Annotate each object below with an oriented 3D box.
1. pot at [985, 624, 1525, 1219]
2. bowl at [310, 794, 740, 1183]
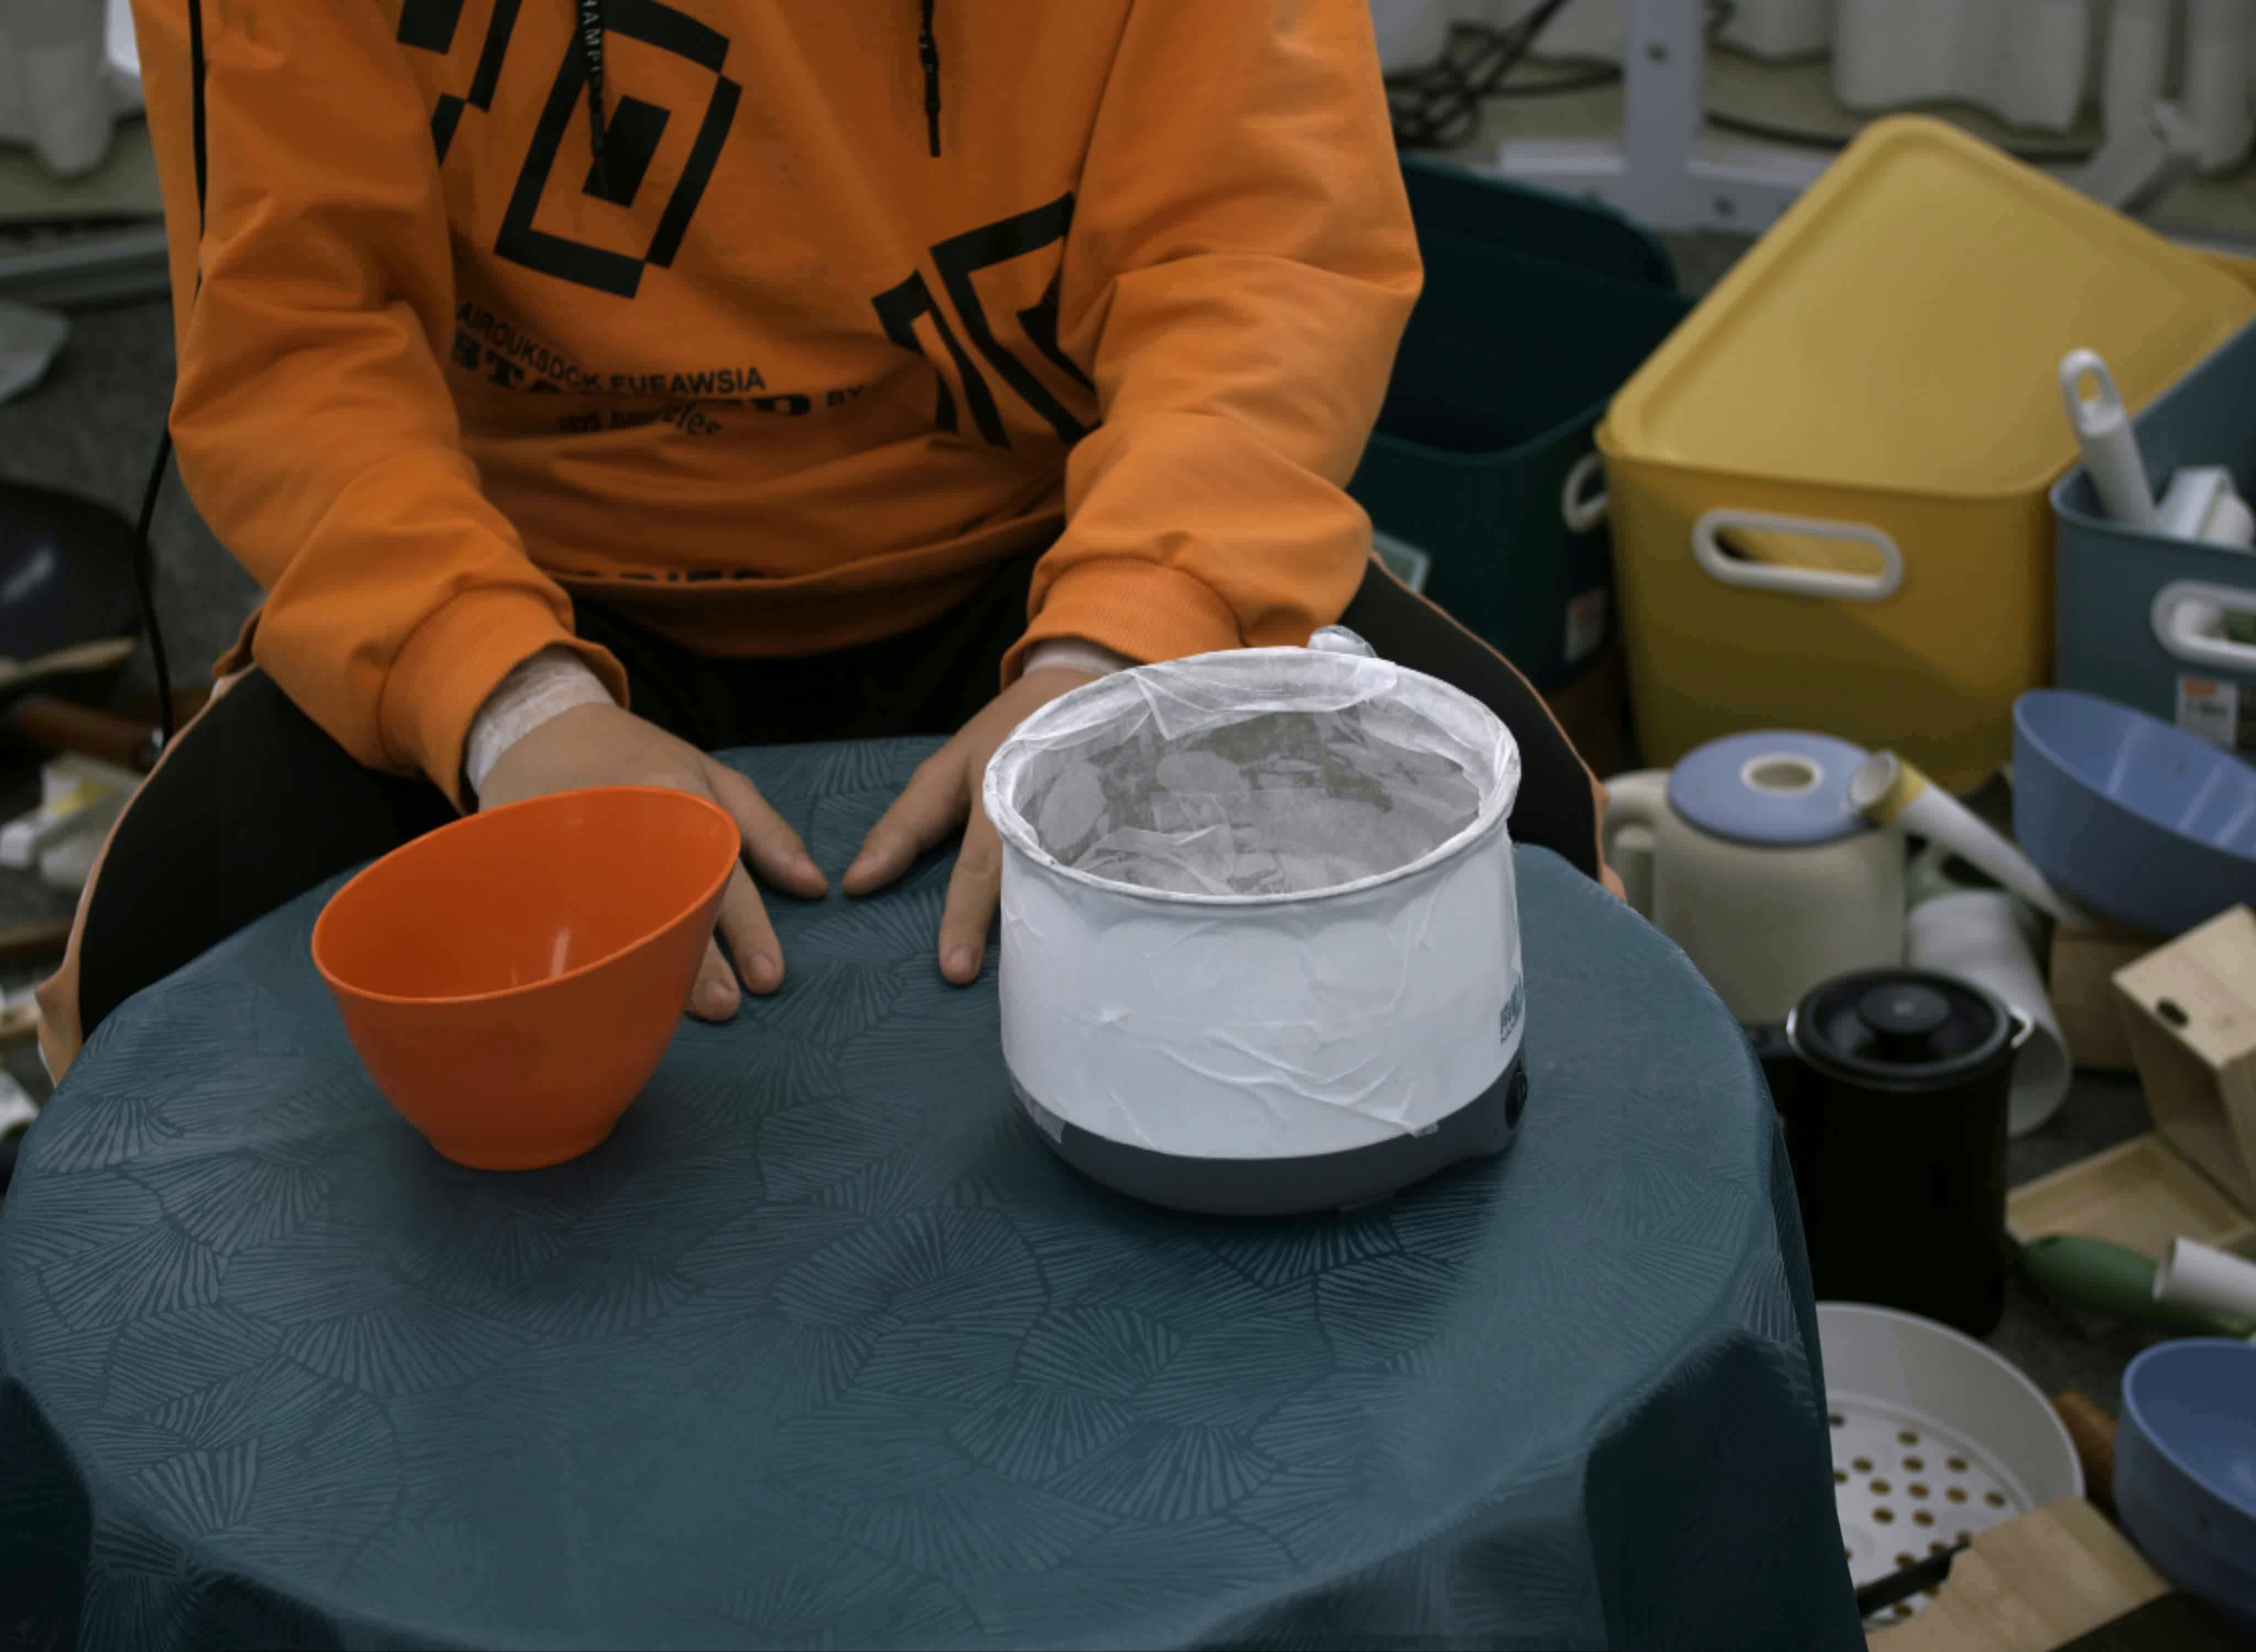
[{"bbox_3d":[0.051,0.025,1.897,0.177,0.135,0.238,5,28,15],"label":"pot"},{"bbox_3d":[-0.199,0.061,1.896,0.147,0.103,0.150,-4,27,2],"label":"bowl"}]
